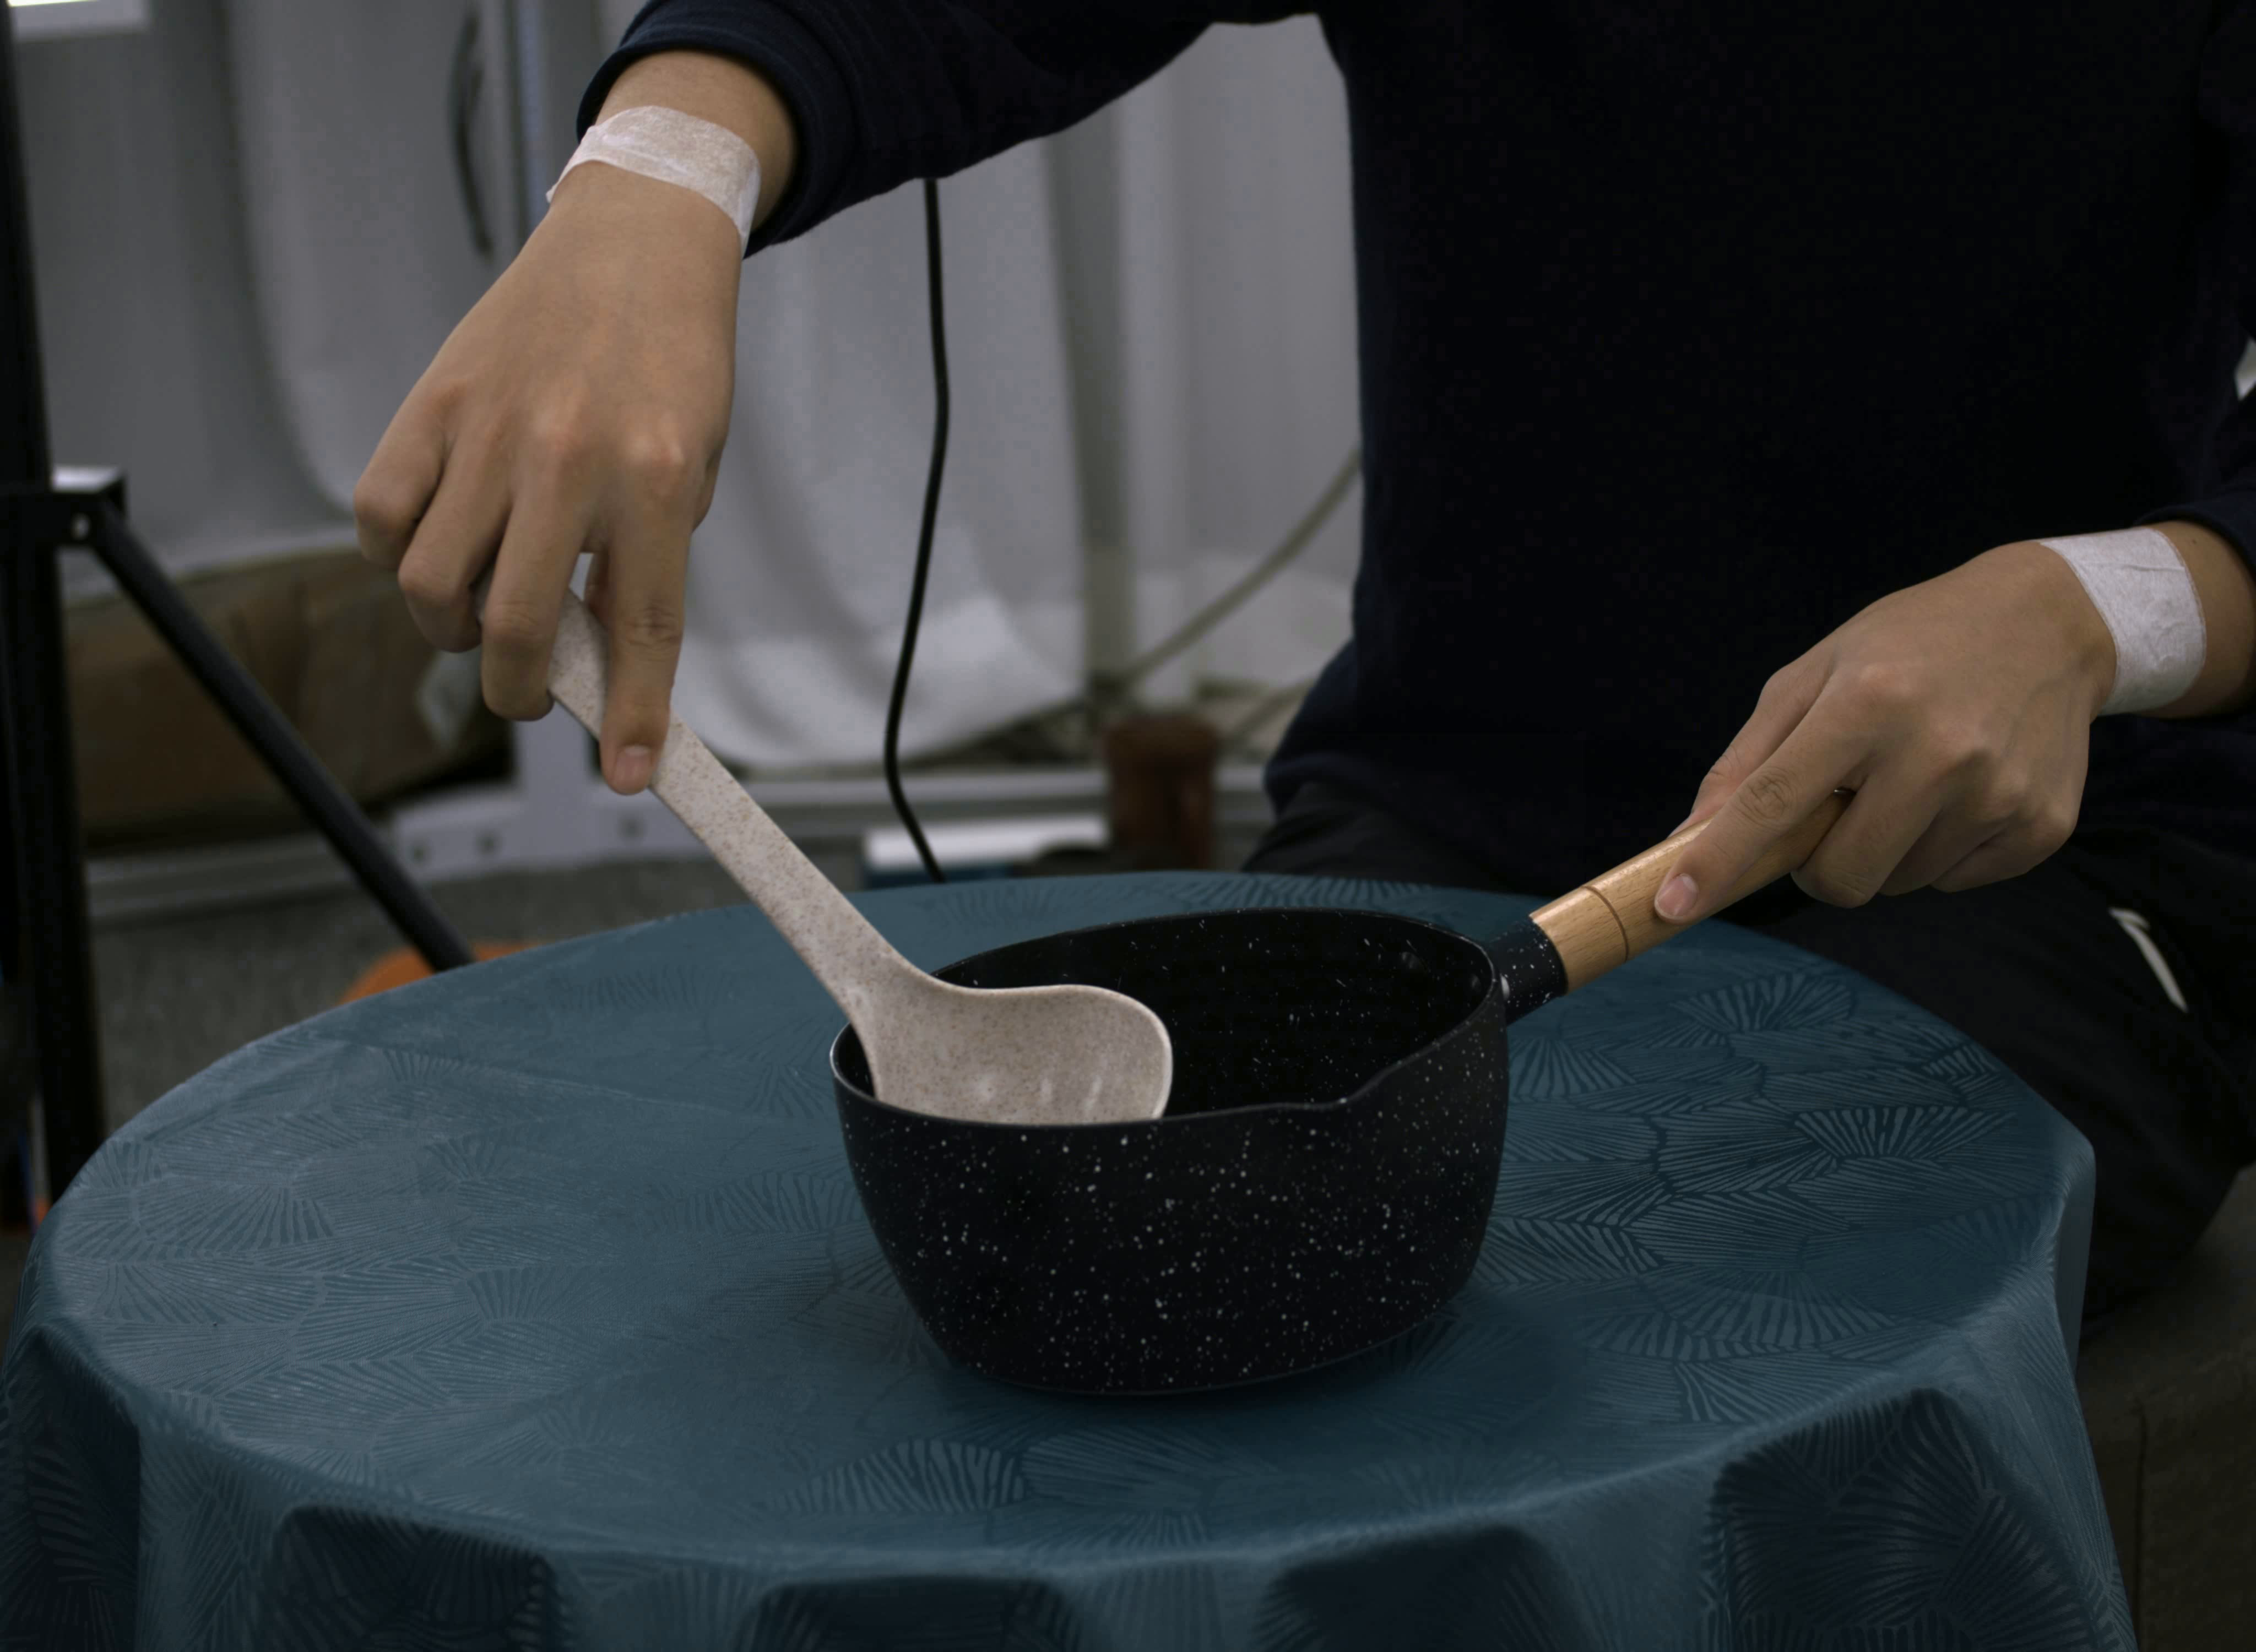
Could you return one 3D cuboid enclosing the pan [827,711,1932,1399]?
[{"bbox_3d":[0.083,0.060,1.474,0.336,0.108,0.211,-16,16,-24],"label":"pan"}]

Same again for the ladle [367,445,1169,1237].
[{"bbox_3d":[-0.101,-0.004,1.417,0.089,0.274,0.070,-43,3,-17],"label":"ladle"}]
